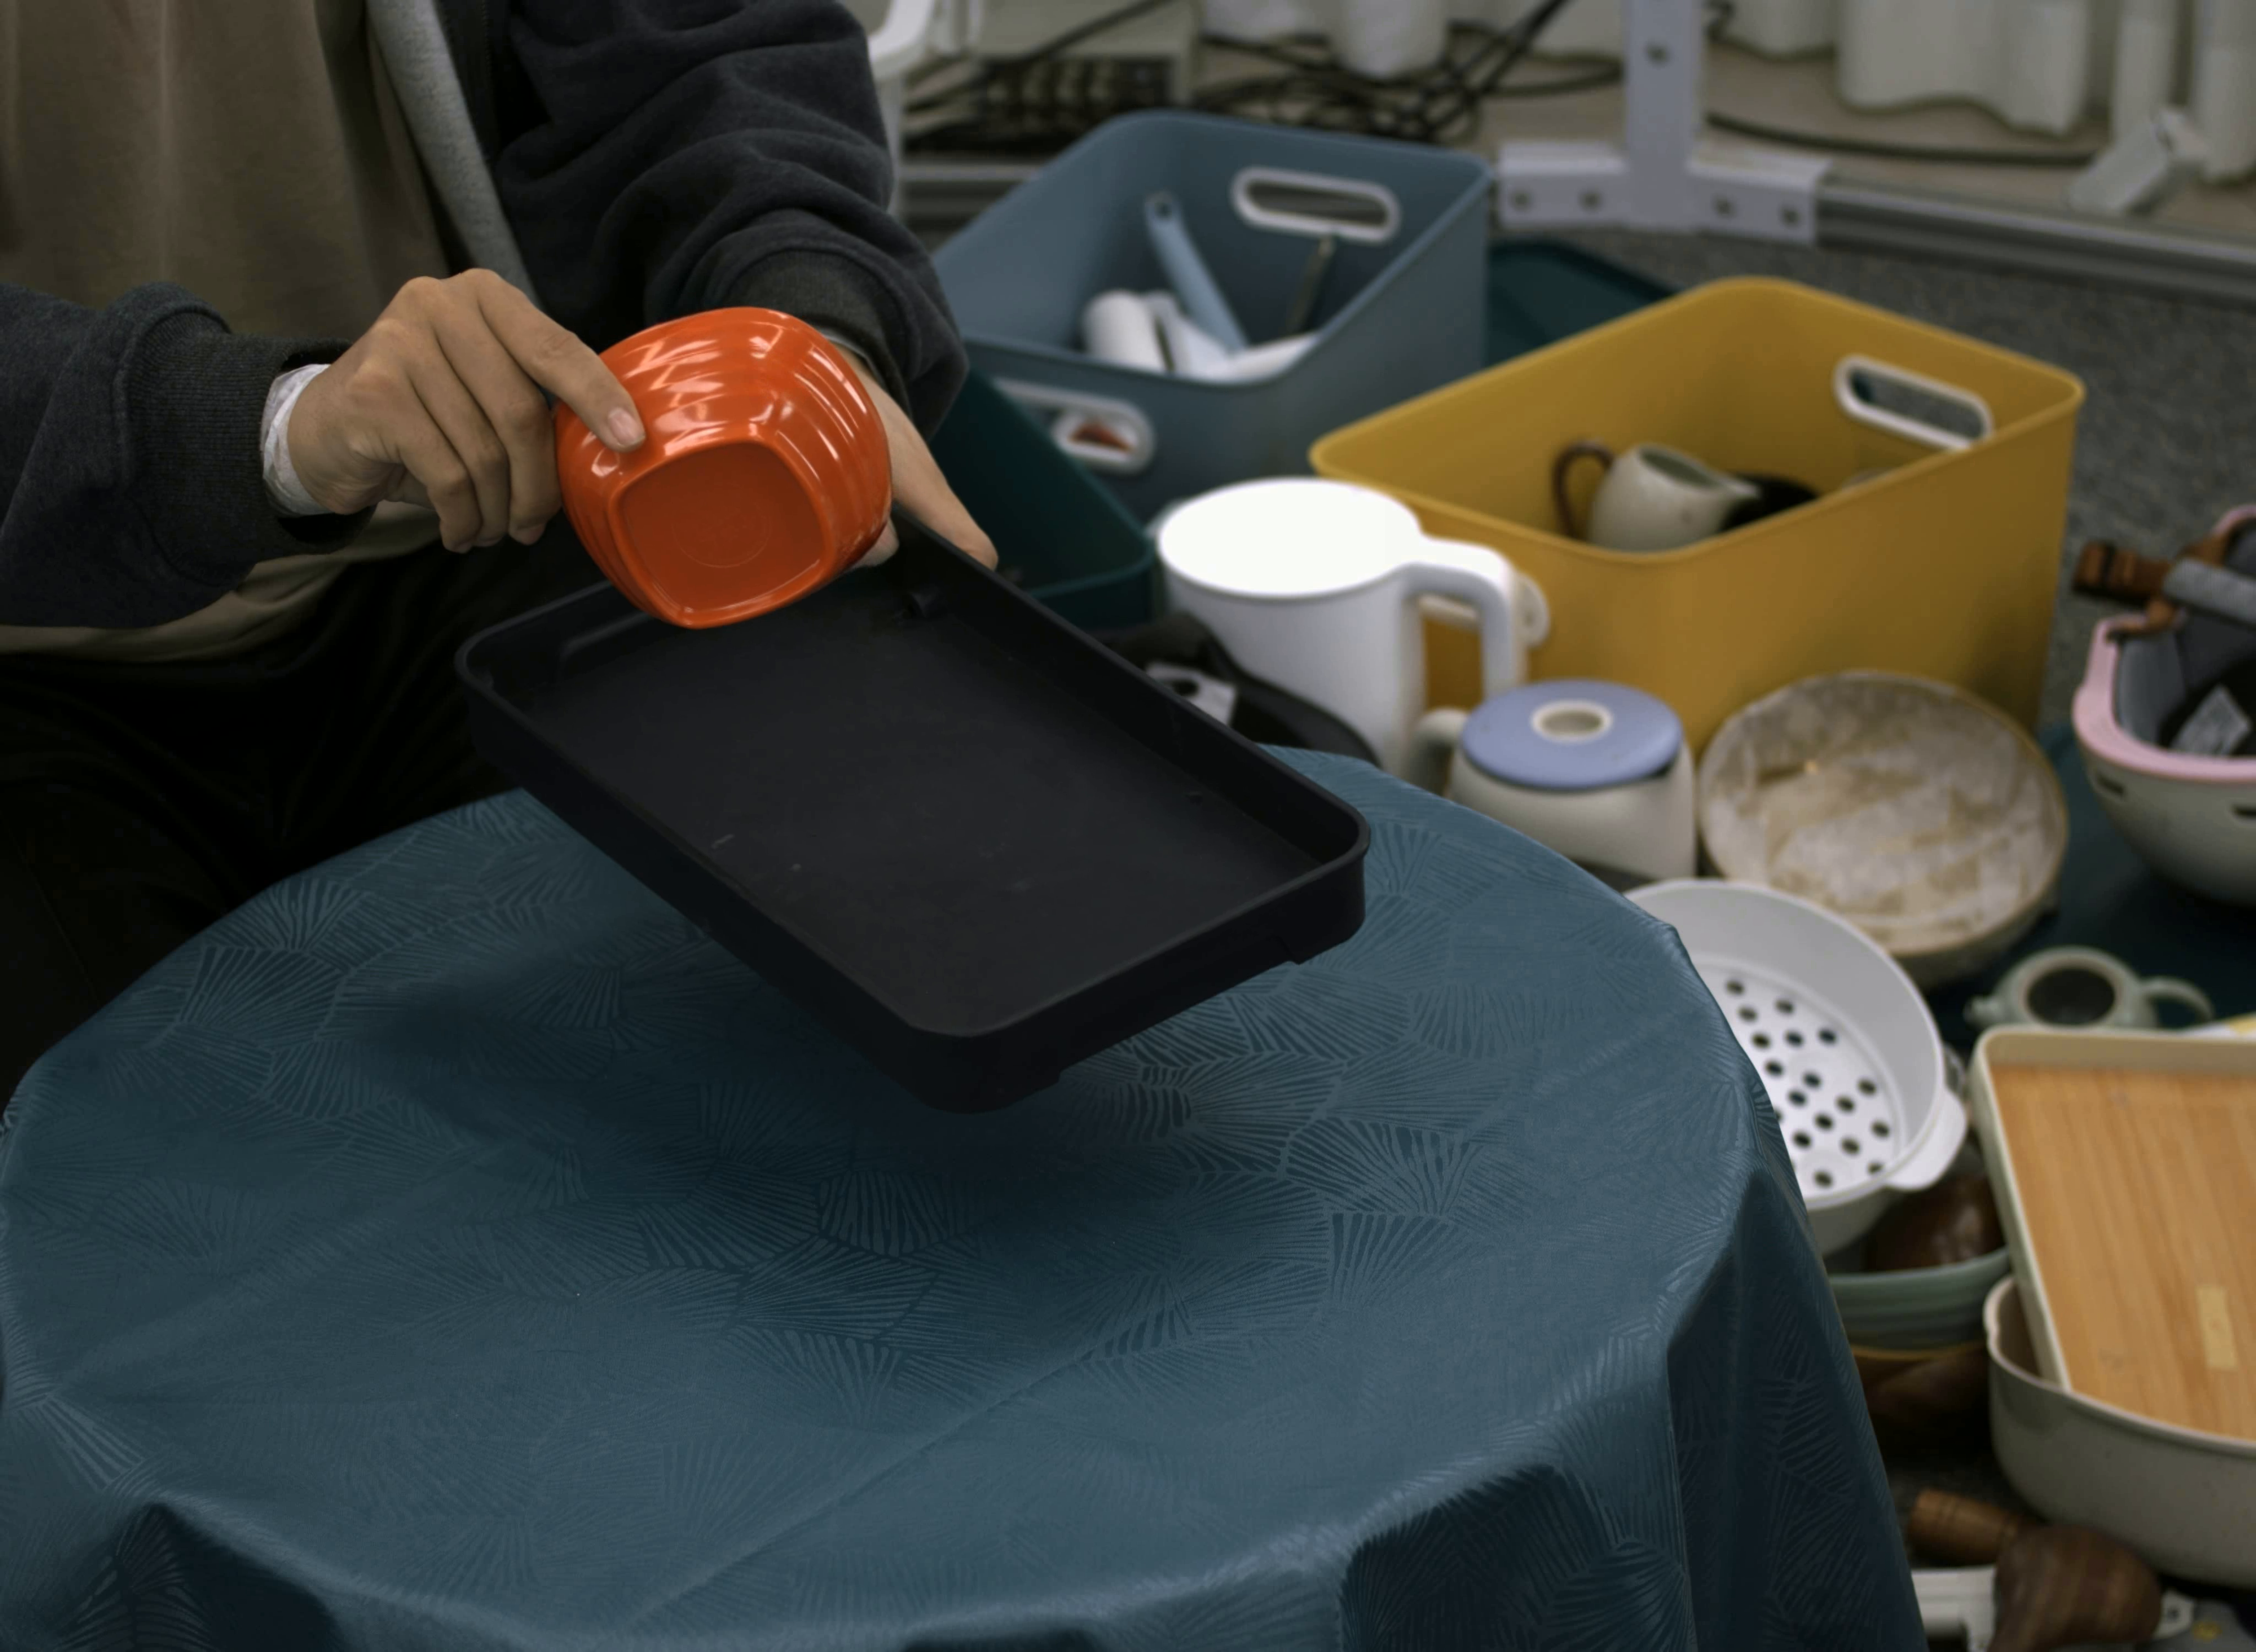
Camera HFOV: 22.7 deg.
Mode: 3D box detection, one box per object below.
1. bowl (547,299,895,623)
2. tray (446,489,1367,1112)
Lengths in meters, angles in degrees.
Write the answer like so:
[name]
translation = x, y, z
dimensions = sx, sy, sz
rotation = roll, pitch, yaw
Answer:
[bowl]
translation = -0.133, -0.110, 1.850
dimensions = 0.118, 0.117, 0.052
rotation = -3, 35, -2
[tray]
translation = -0.079, -0.017, 1.917
dimensions = 0.186, 0.036, 0.319
rotation = -24, 39, -29
